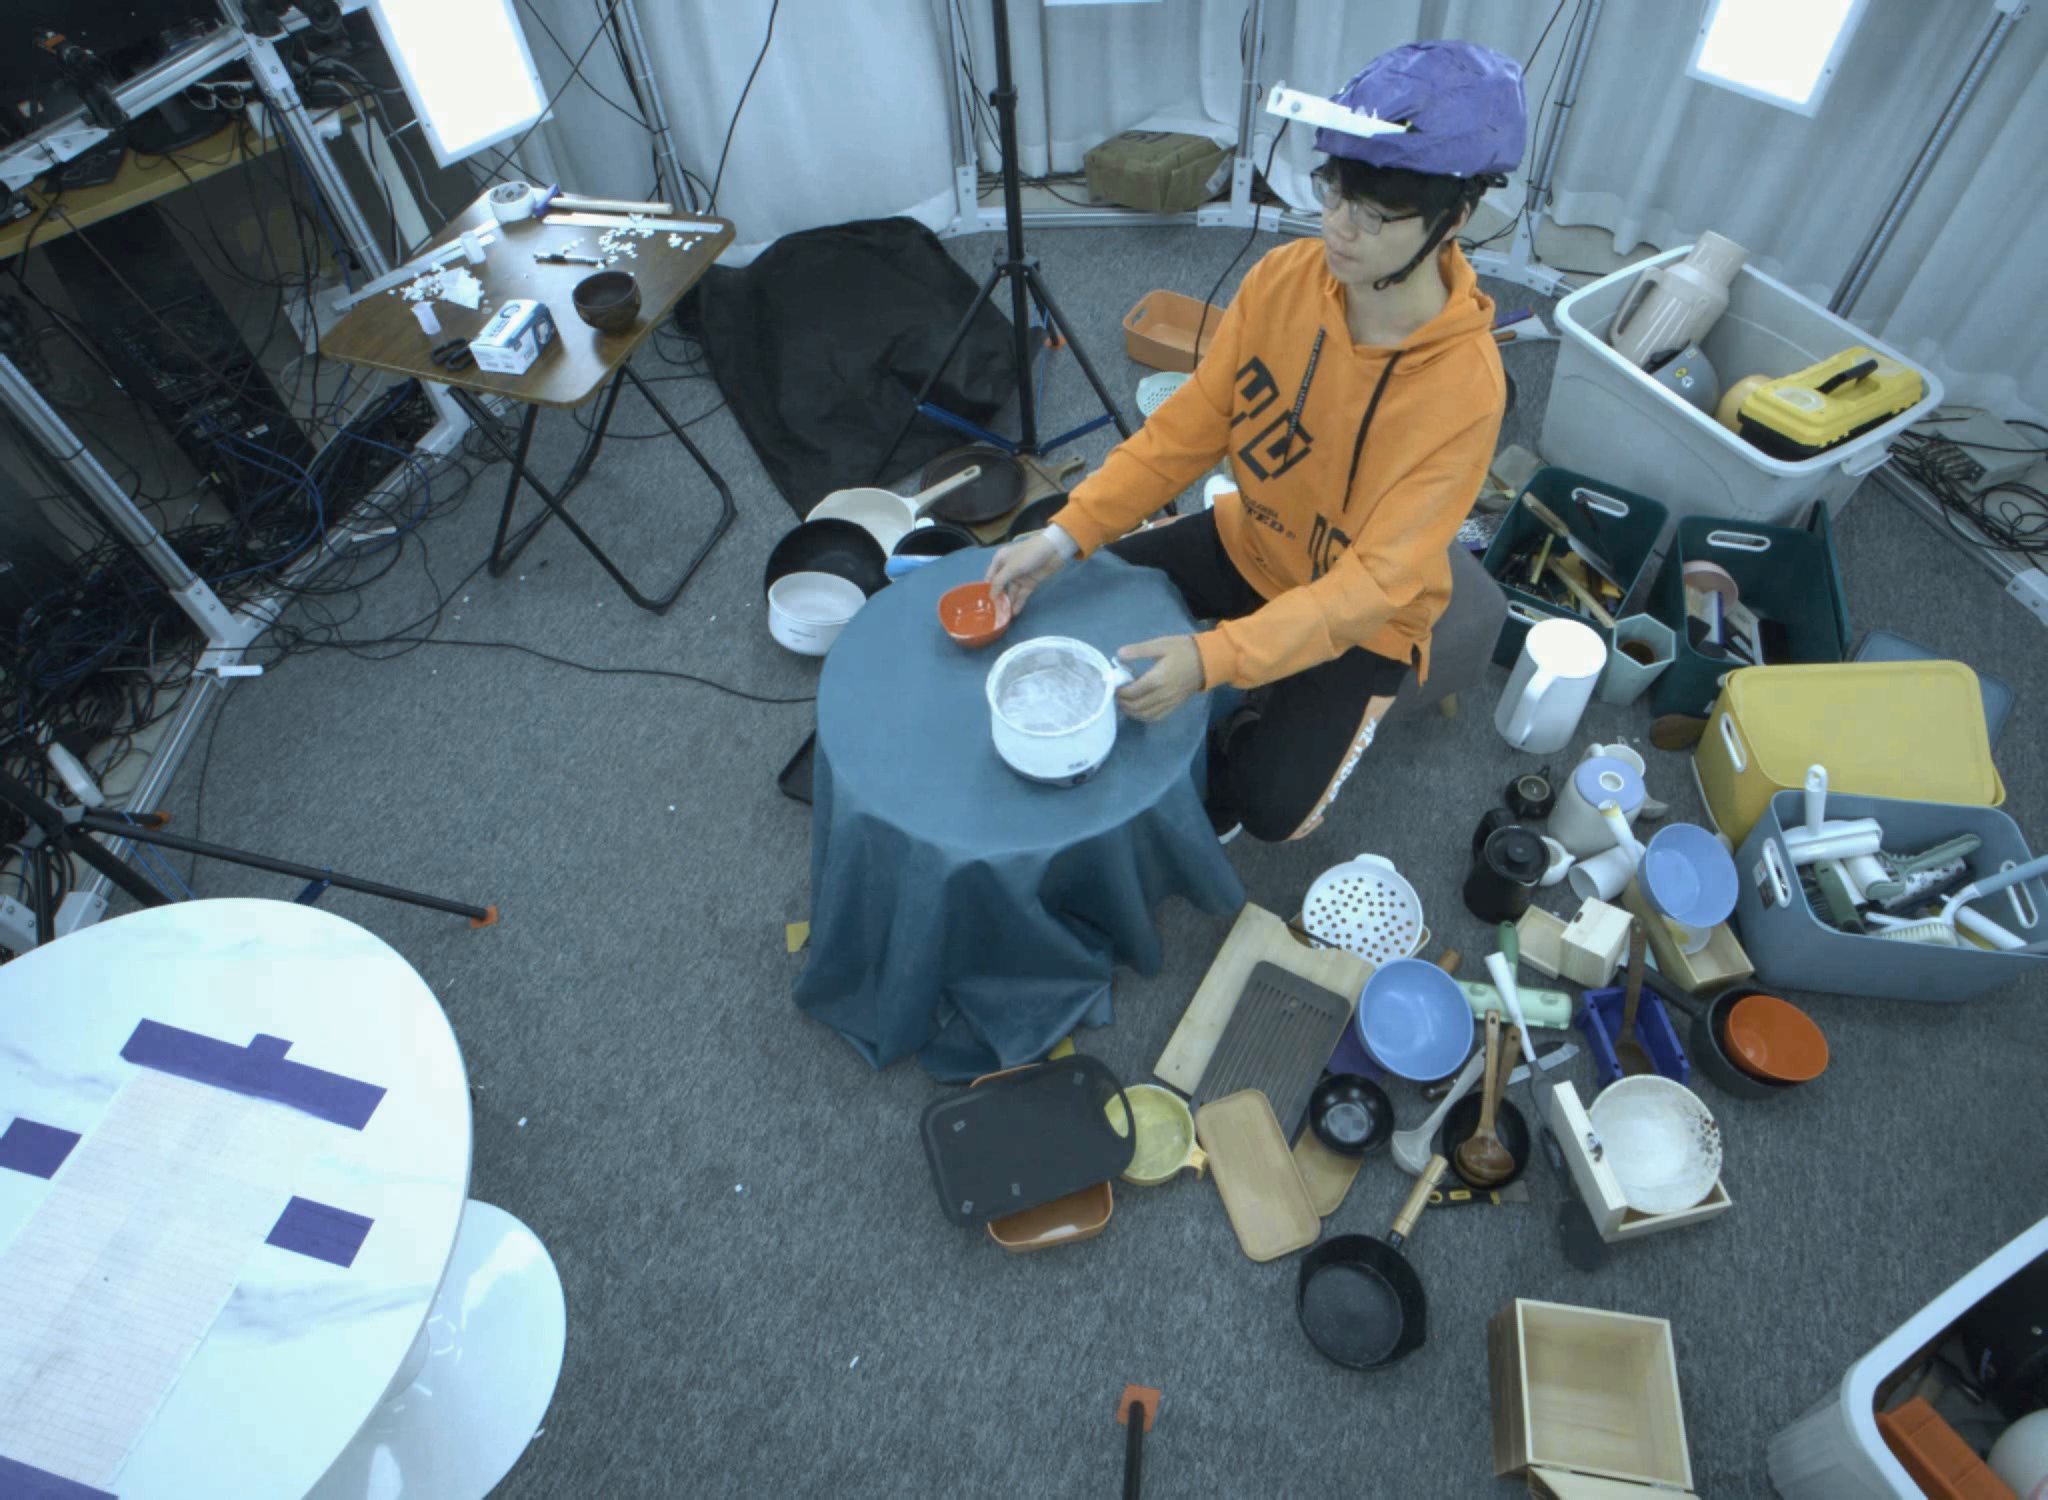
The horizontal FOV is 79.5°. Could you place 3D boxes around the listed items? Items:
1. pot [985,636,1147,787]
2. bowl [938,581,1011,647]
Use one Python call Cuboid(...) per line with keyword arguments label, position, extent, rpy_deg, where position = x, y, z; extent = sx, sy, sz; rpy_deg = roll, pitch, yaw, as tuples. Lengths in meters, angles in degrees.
Cuboid(label="pot", position=(0.065, -0.062, 1.744), extent=(0.235, 0.138, 0.175), rpy_deg=(-22, 57, -12))
Cuboid(label="bowl", position=(-0.074, -0.204, 1.902), extent=(0.118, 0.052, 0.117), rpy_deg=(-2, 55, 4))
